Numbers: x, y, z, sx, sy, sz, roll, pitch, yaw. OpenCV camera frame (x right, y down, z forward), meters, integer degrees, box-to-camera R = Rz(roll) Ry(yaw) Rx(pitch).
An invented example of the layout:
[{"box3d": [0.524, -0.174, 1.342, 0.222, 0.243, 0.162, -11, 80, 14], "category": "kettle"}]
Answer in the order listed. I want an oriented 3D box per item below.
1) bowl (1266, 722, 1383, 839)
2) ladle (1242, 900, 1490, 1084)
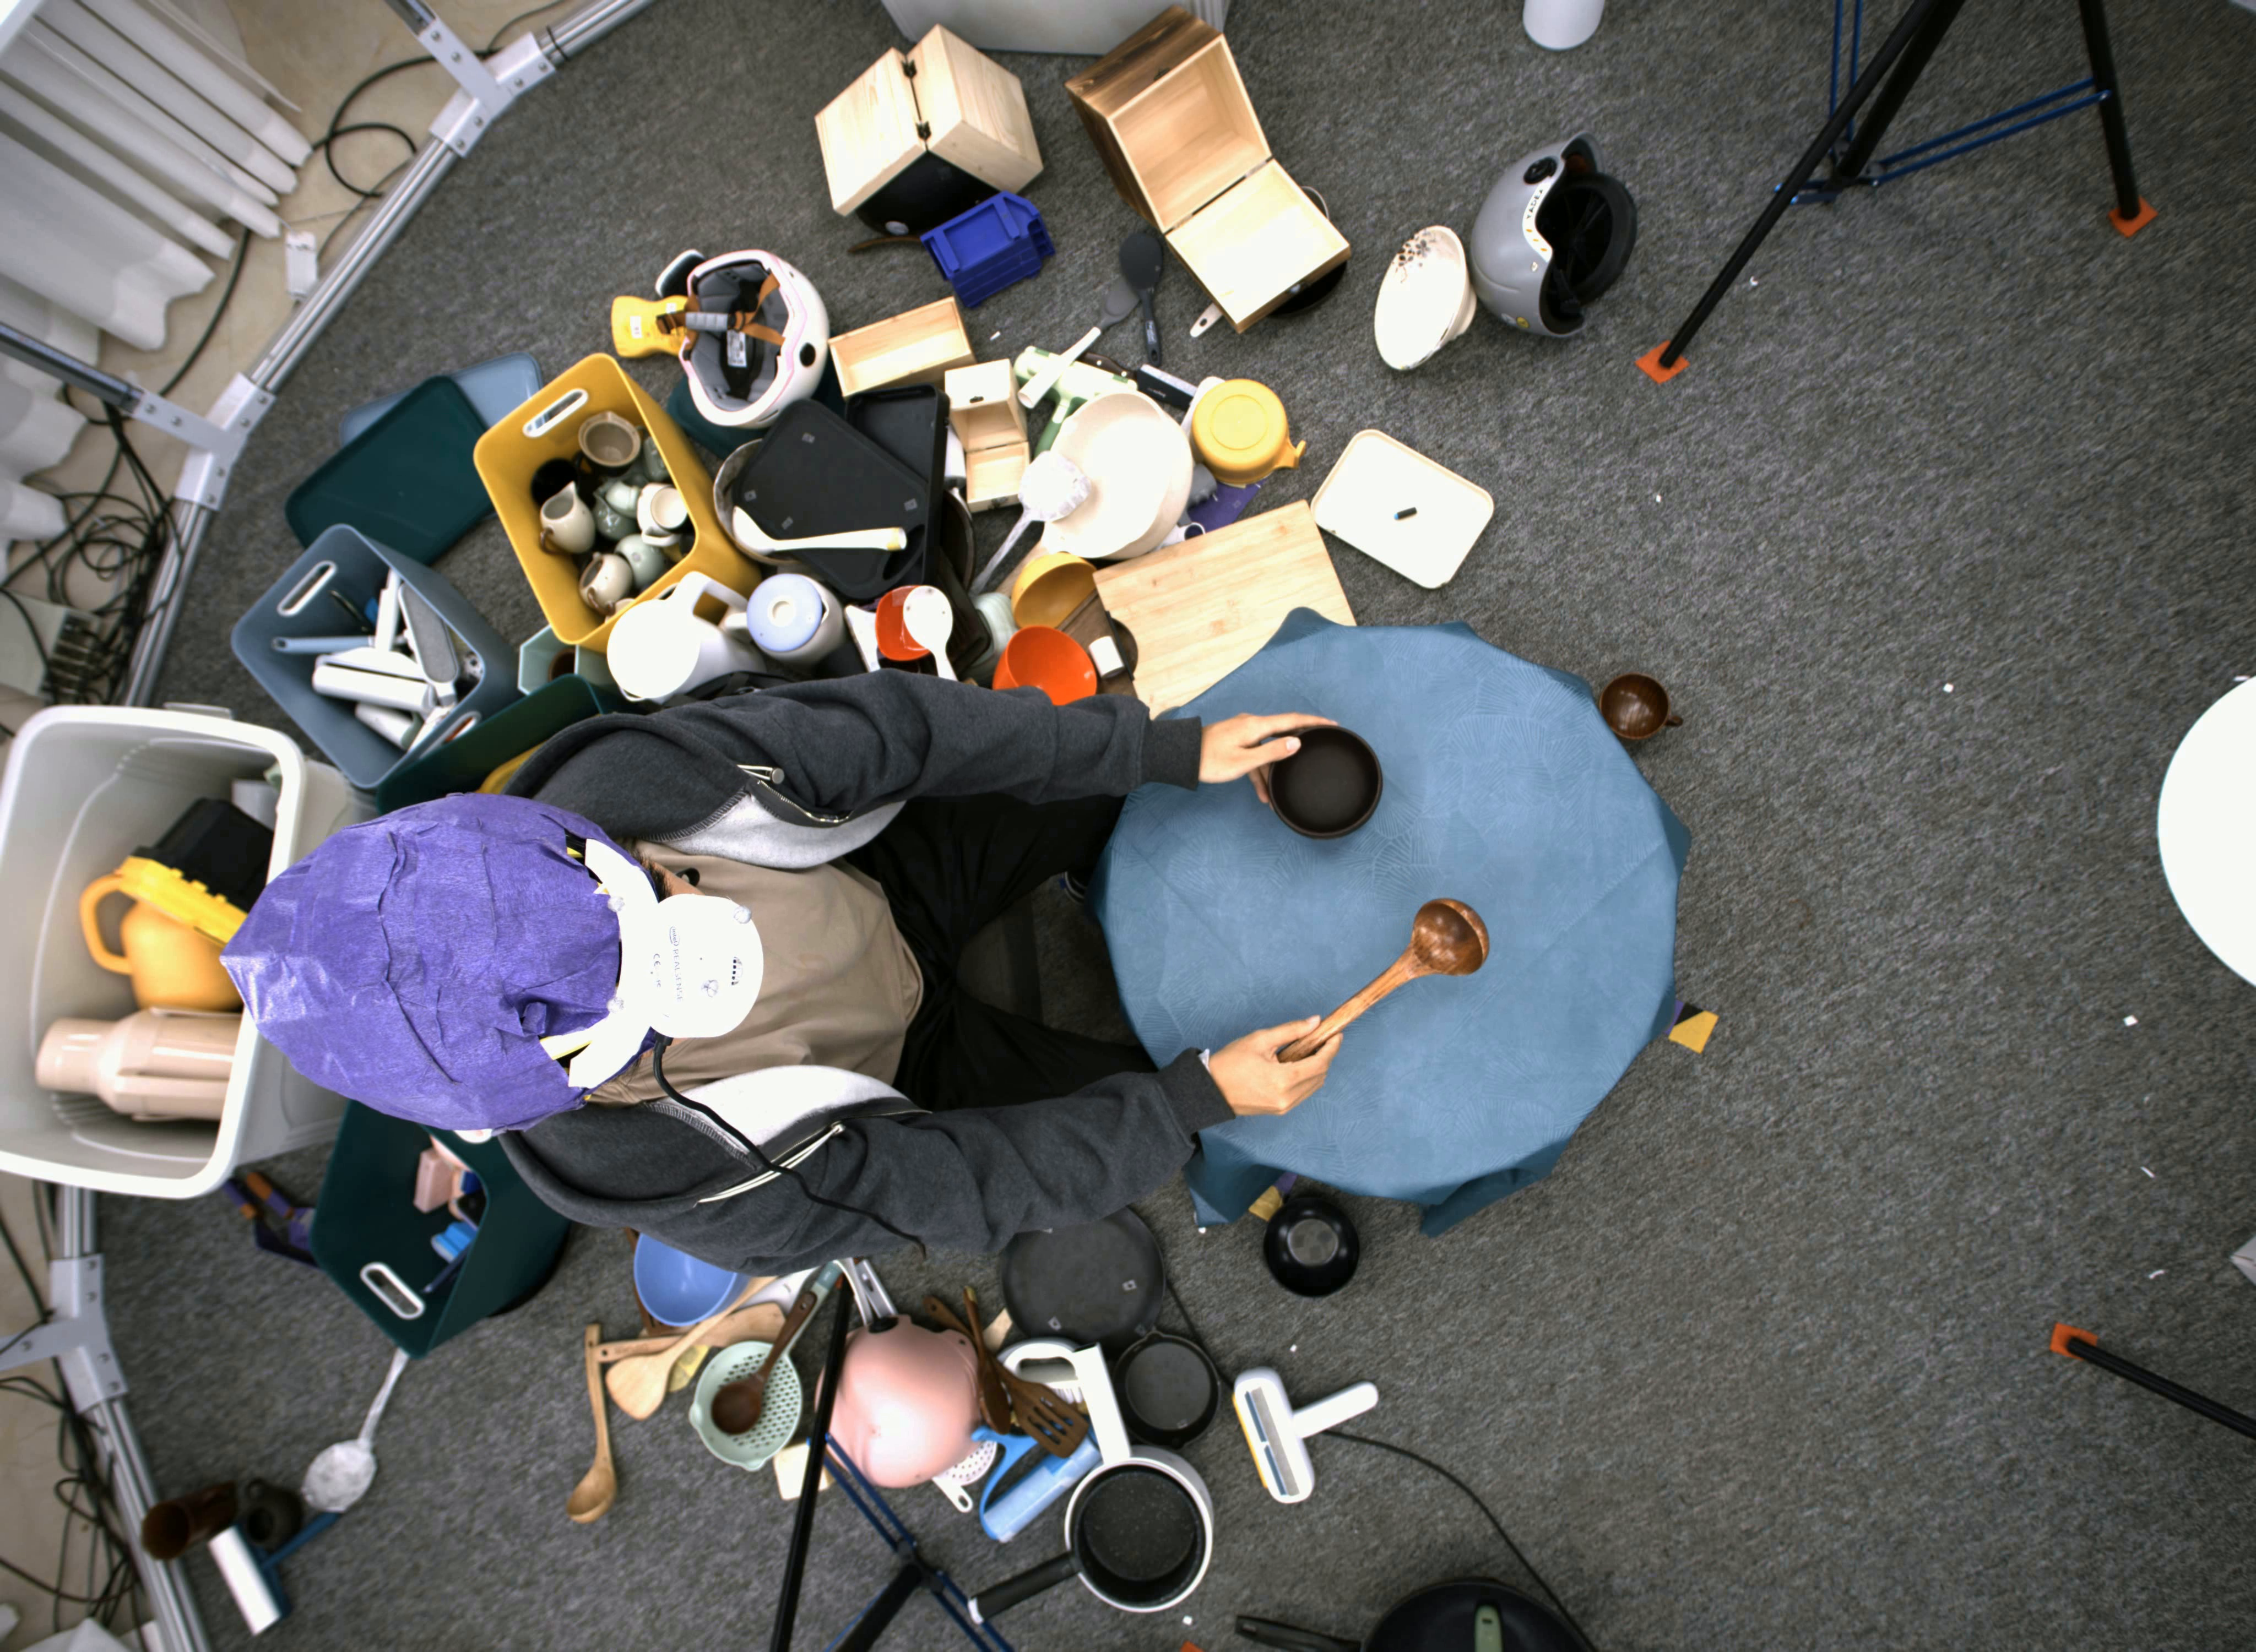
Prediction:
[{"box3d": [0.202, -0.045, 1.413, 0.118, 0.070, 0.117, -1, 86, 10], "category": "bowl"}, {"box3d": [0.228, 0.169, 1.342, 0.275, 0.077, 0.081, -36, 81, 4], "category": "ladle"}]
